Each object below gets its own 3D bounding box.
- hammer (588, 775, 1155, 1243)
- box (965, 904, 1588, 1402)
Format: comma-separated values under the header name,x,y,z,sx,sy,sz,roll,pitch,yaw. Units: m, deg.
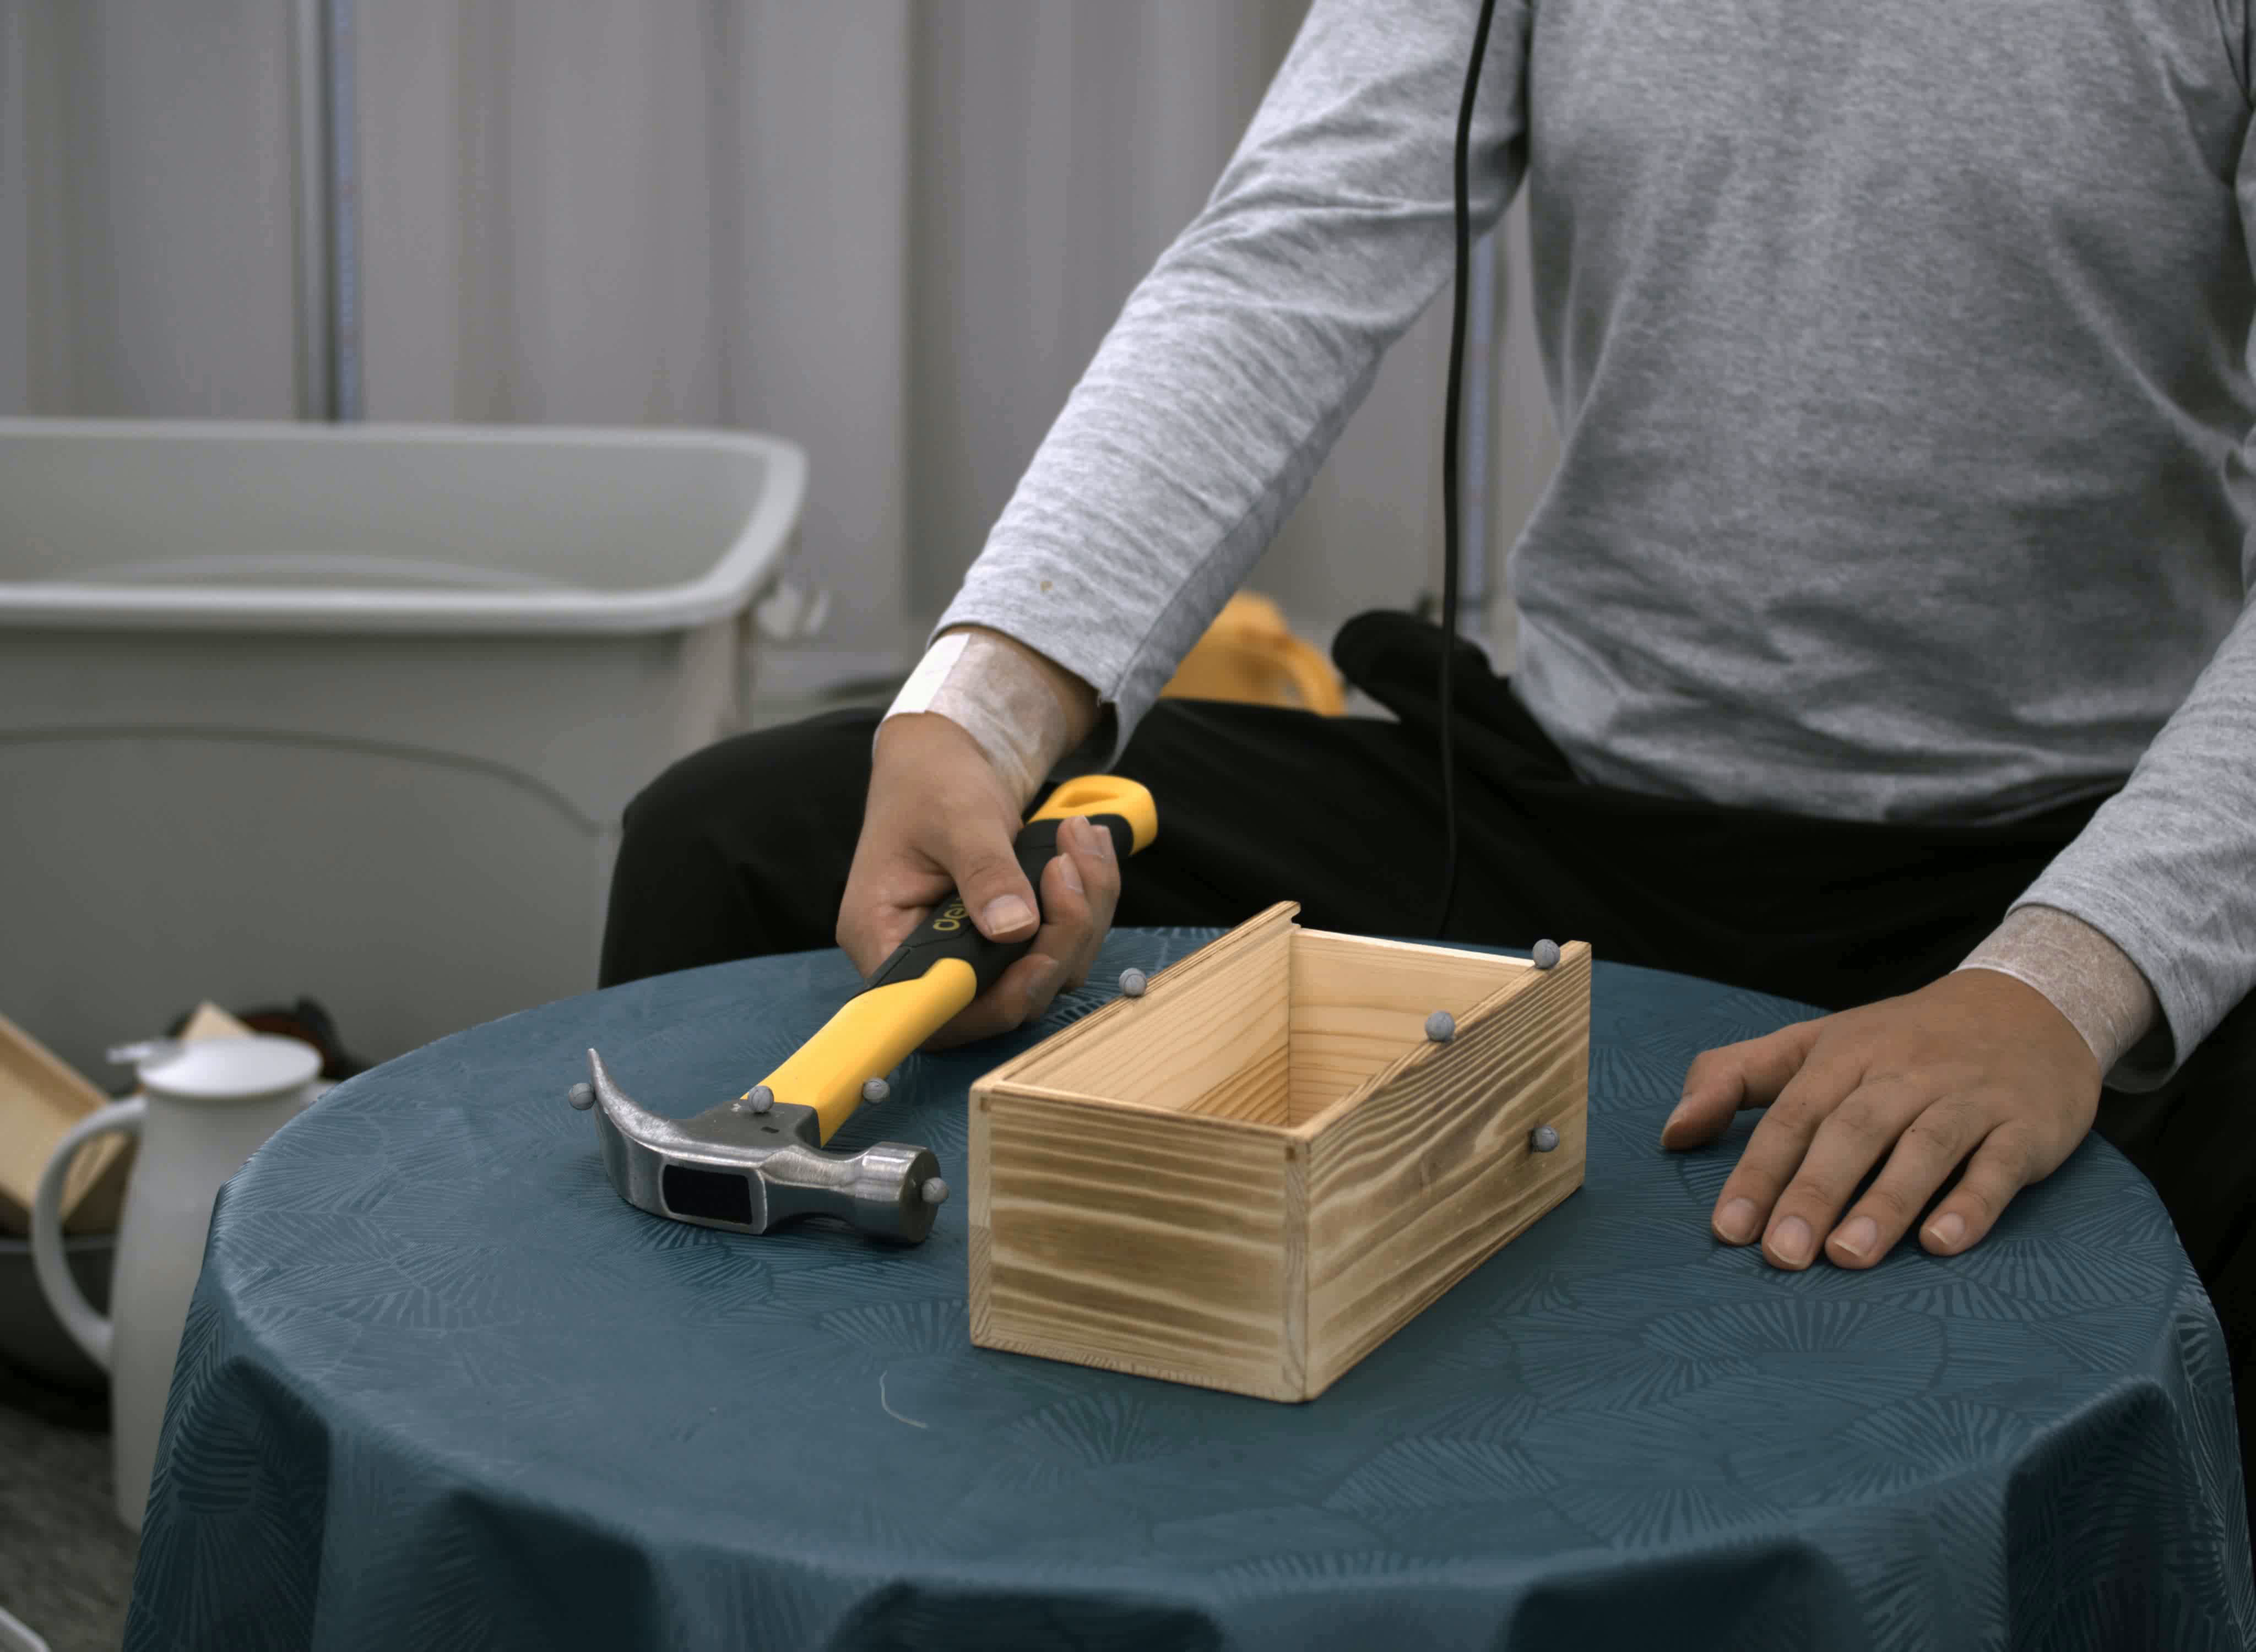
name,x,y,z,sx,sy,sz,roll,pitch,yaw
hammer,-0.066,0.051,1.727,0.130,0.032,0.338,5,22,21
box,0.048,0.092,1.554,0.106,0.081,0.212,7,17,25
